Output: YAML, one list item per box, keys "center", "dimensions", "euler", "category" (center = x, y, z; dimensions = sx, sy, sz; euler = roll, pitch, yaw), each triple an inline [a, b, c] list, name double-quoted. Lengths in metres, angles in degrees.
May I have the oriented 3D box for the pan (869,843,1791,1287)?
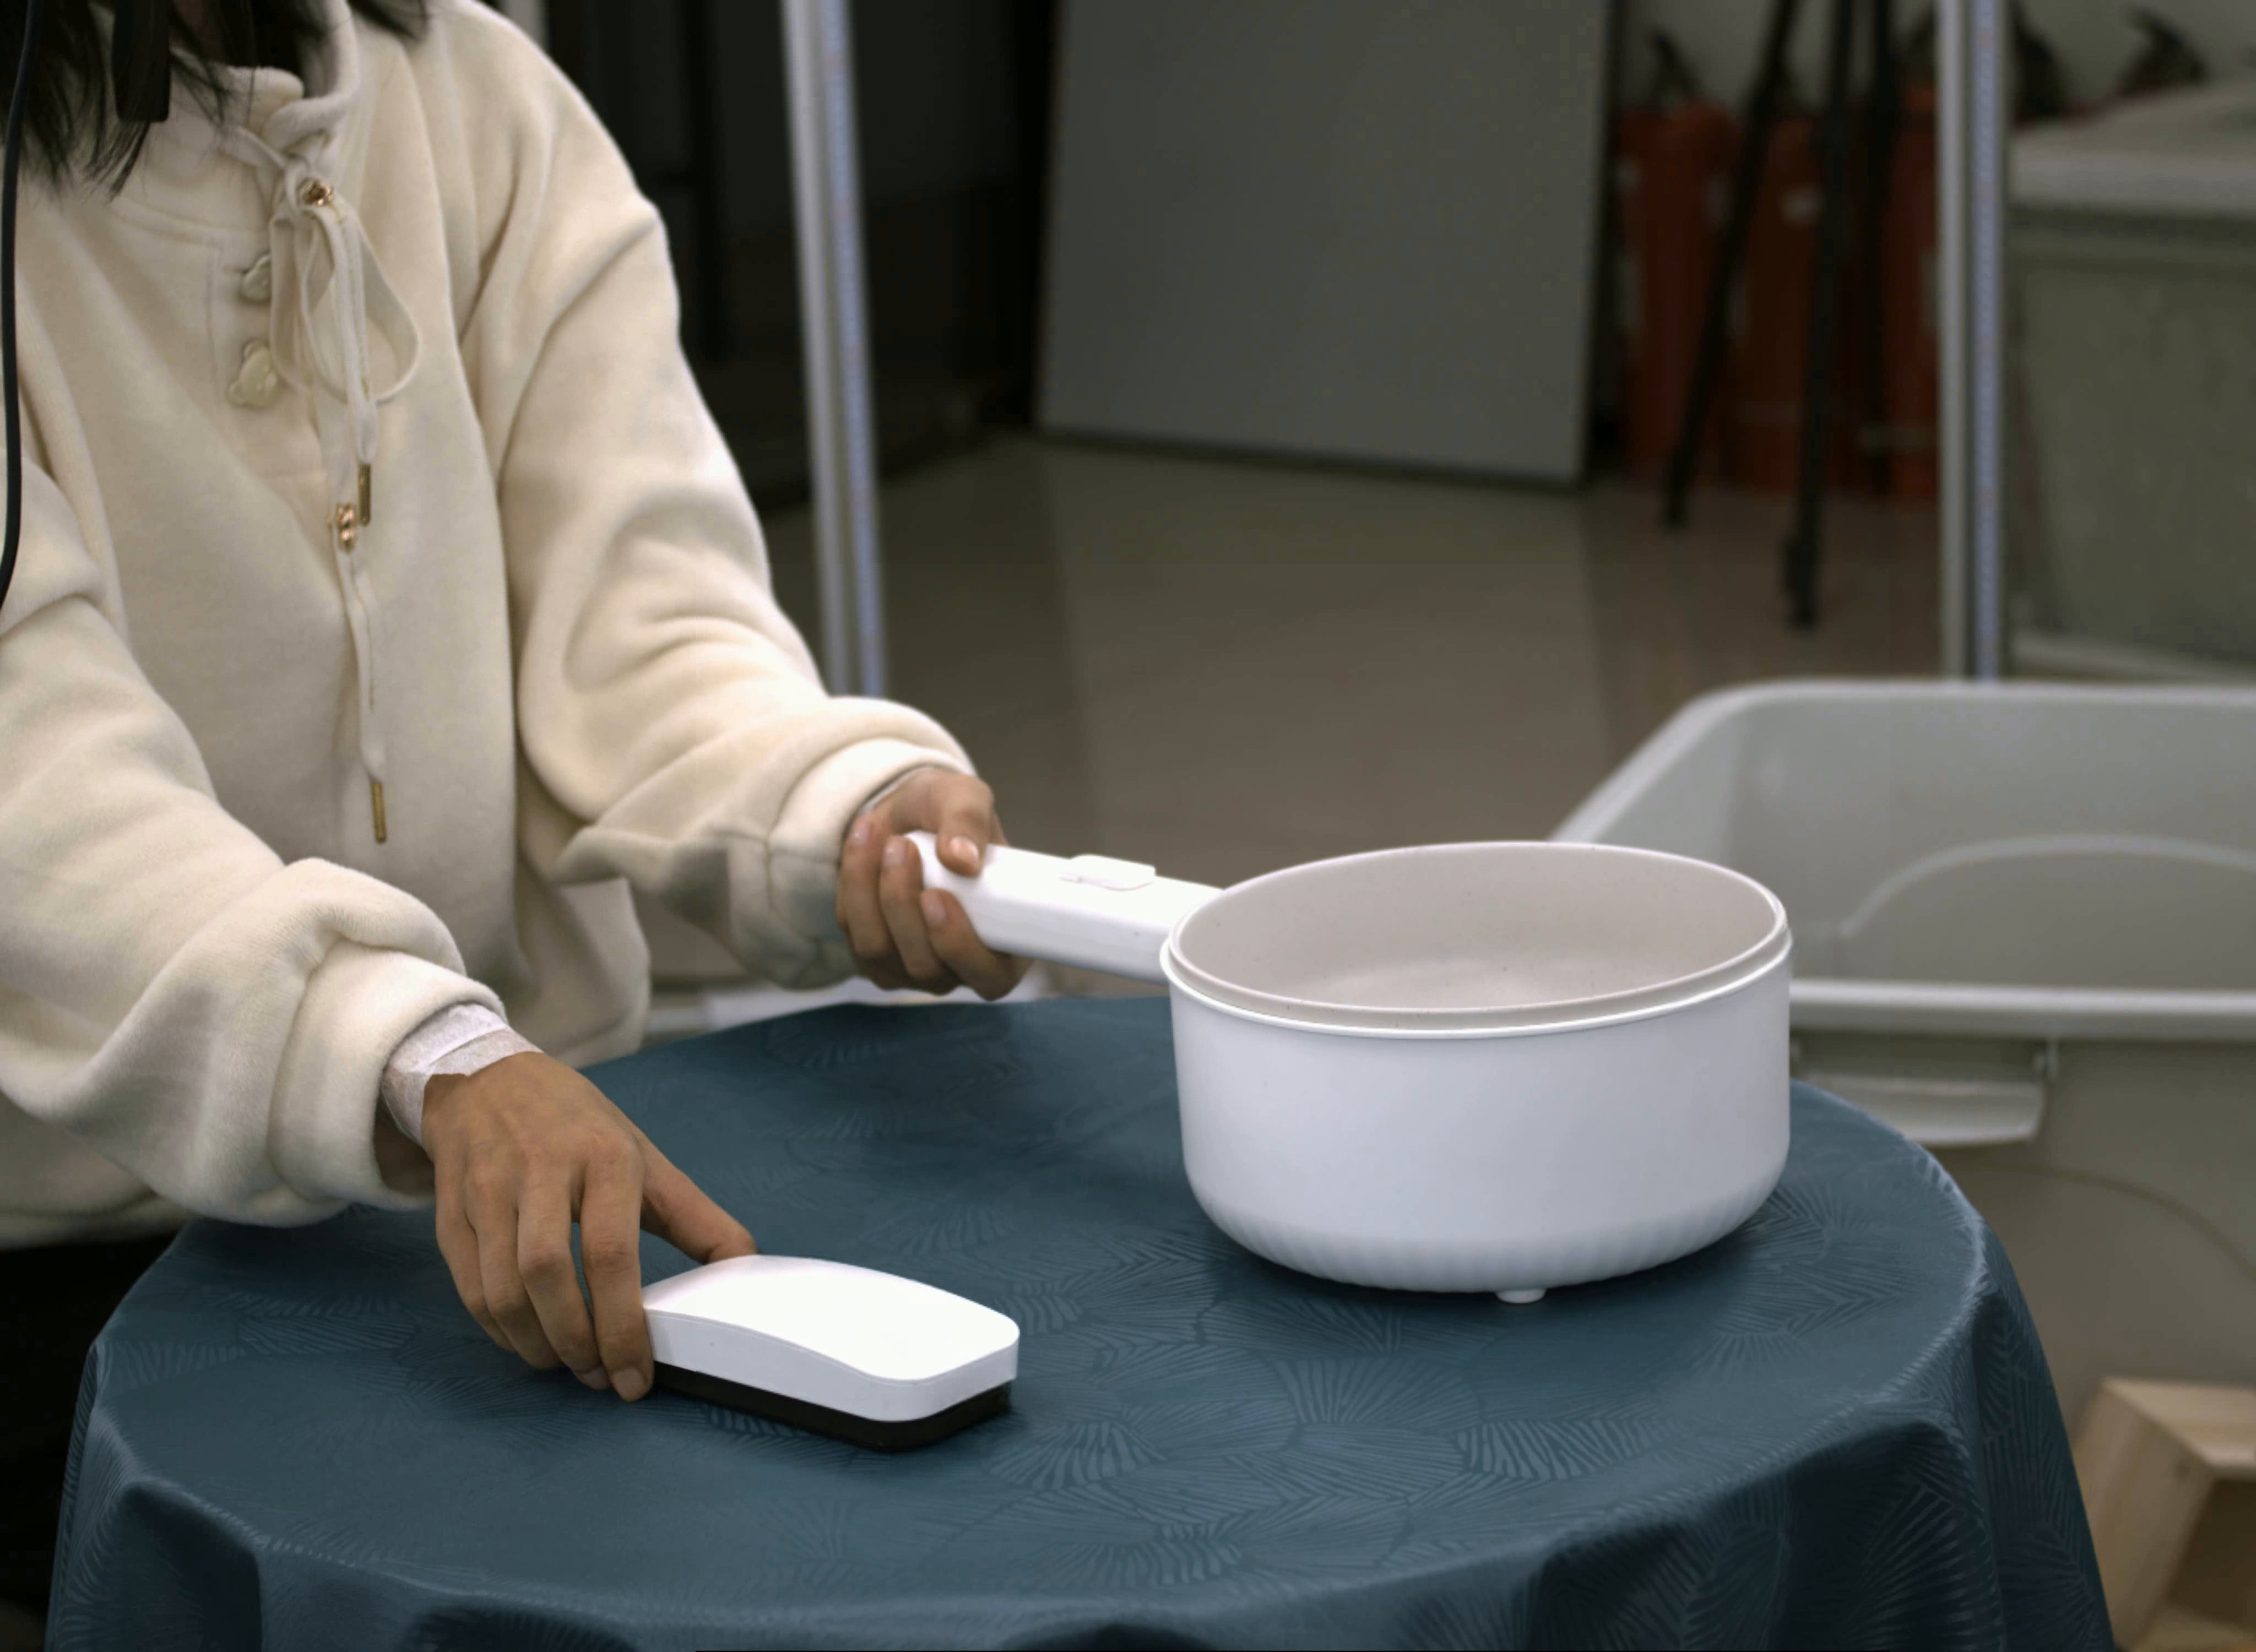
- center: [0.055, 0.070, 1.751]
  dimensions: [0.358, 0.103, 0.197]
  euler: [5, 15, 42]
  category: "pan"

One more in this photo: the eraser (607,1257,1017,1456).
- center: [-0.093, 0.154, 1.599]
  dimensions: [0.132, 0.035, 0.062]
  euler: [10, 15, 43]
  category: "eraser"
